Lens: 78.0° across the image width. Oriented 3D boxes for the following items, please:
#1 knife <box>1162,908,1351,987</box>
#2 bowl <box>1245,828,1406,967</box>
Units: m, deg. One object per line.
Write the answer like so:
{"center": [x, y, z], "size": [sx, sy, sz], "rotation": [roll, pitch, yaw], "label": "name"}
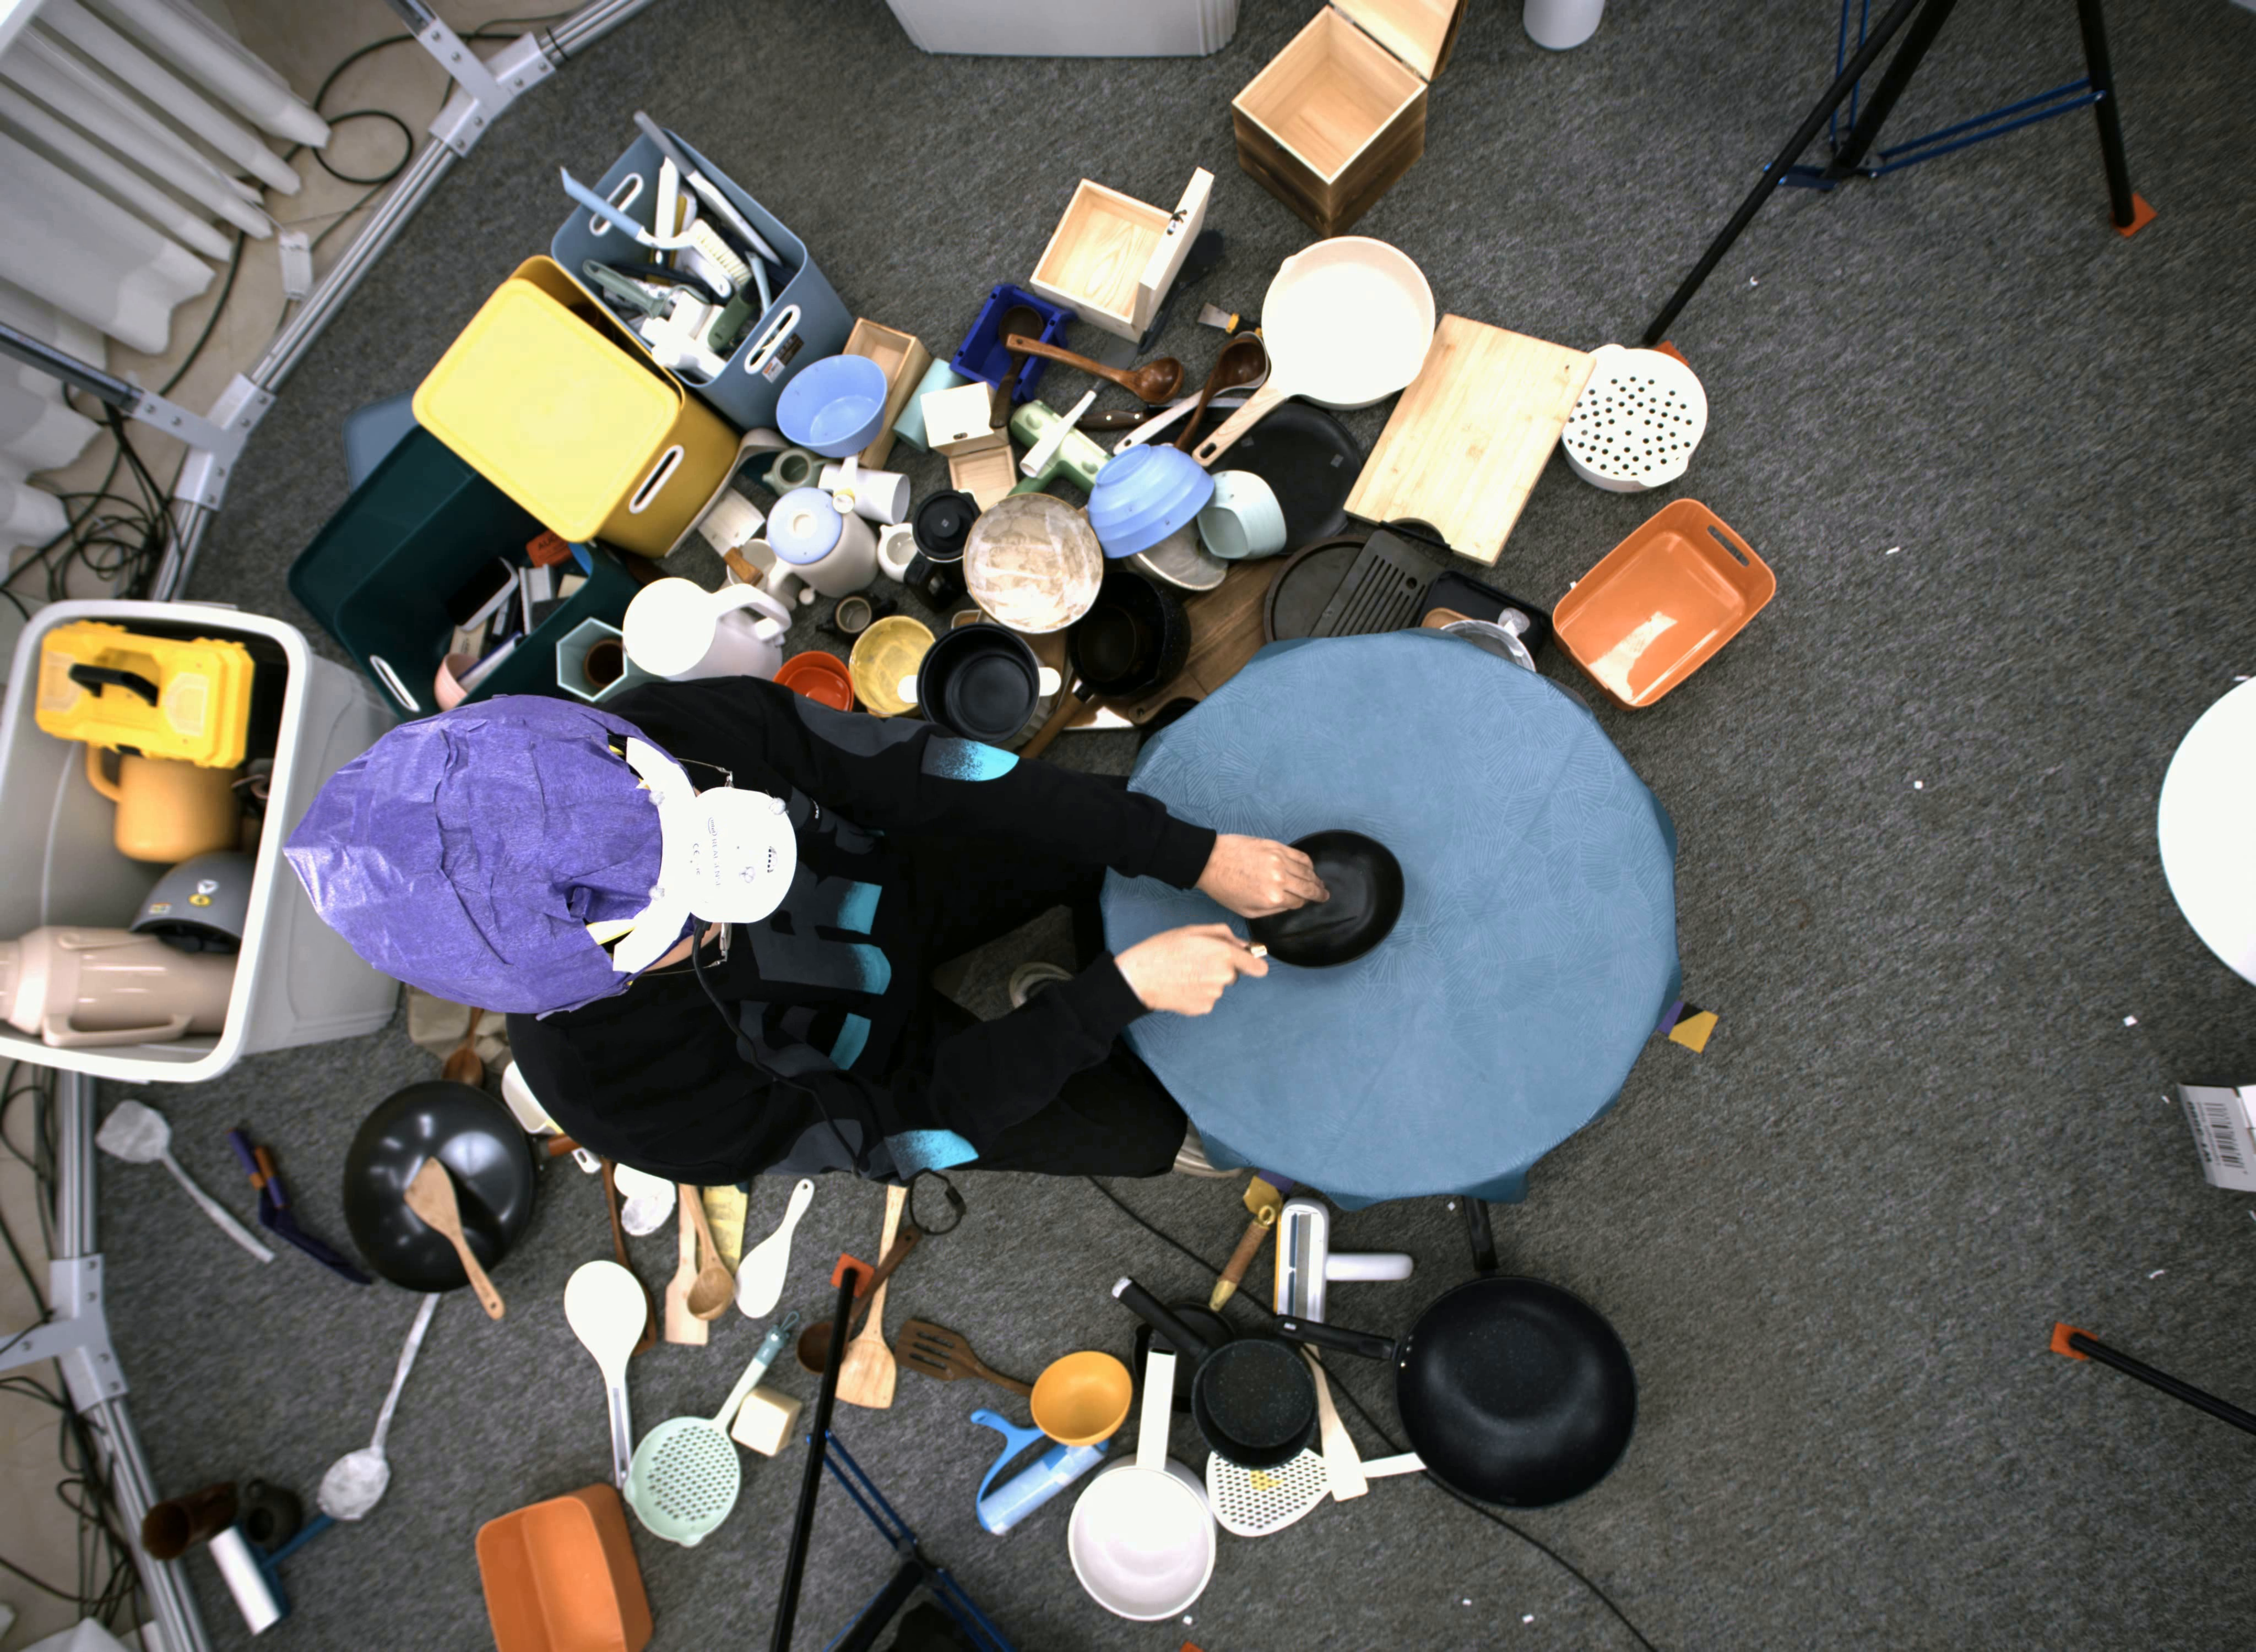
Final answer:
{"center": [0.132, 0.118, 1.381], "size": [0.223, 0.026, 0.017], "rotation": [-18, 109, -20], "label": "knife"}
{"center": [0.207, 0.077, 1.438], "size": [0.171, 0.066, 0.136], "rotation": [-26, 82, 10], "label": "bowl"}
